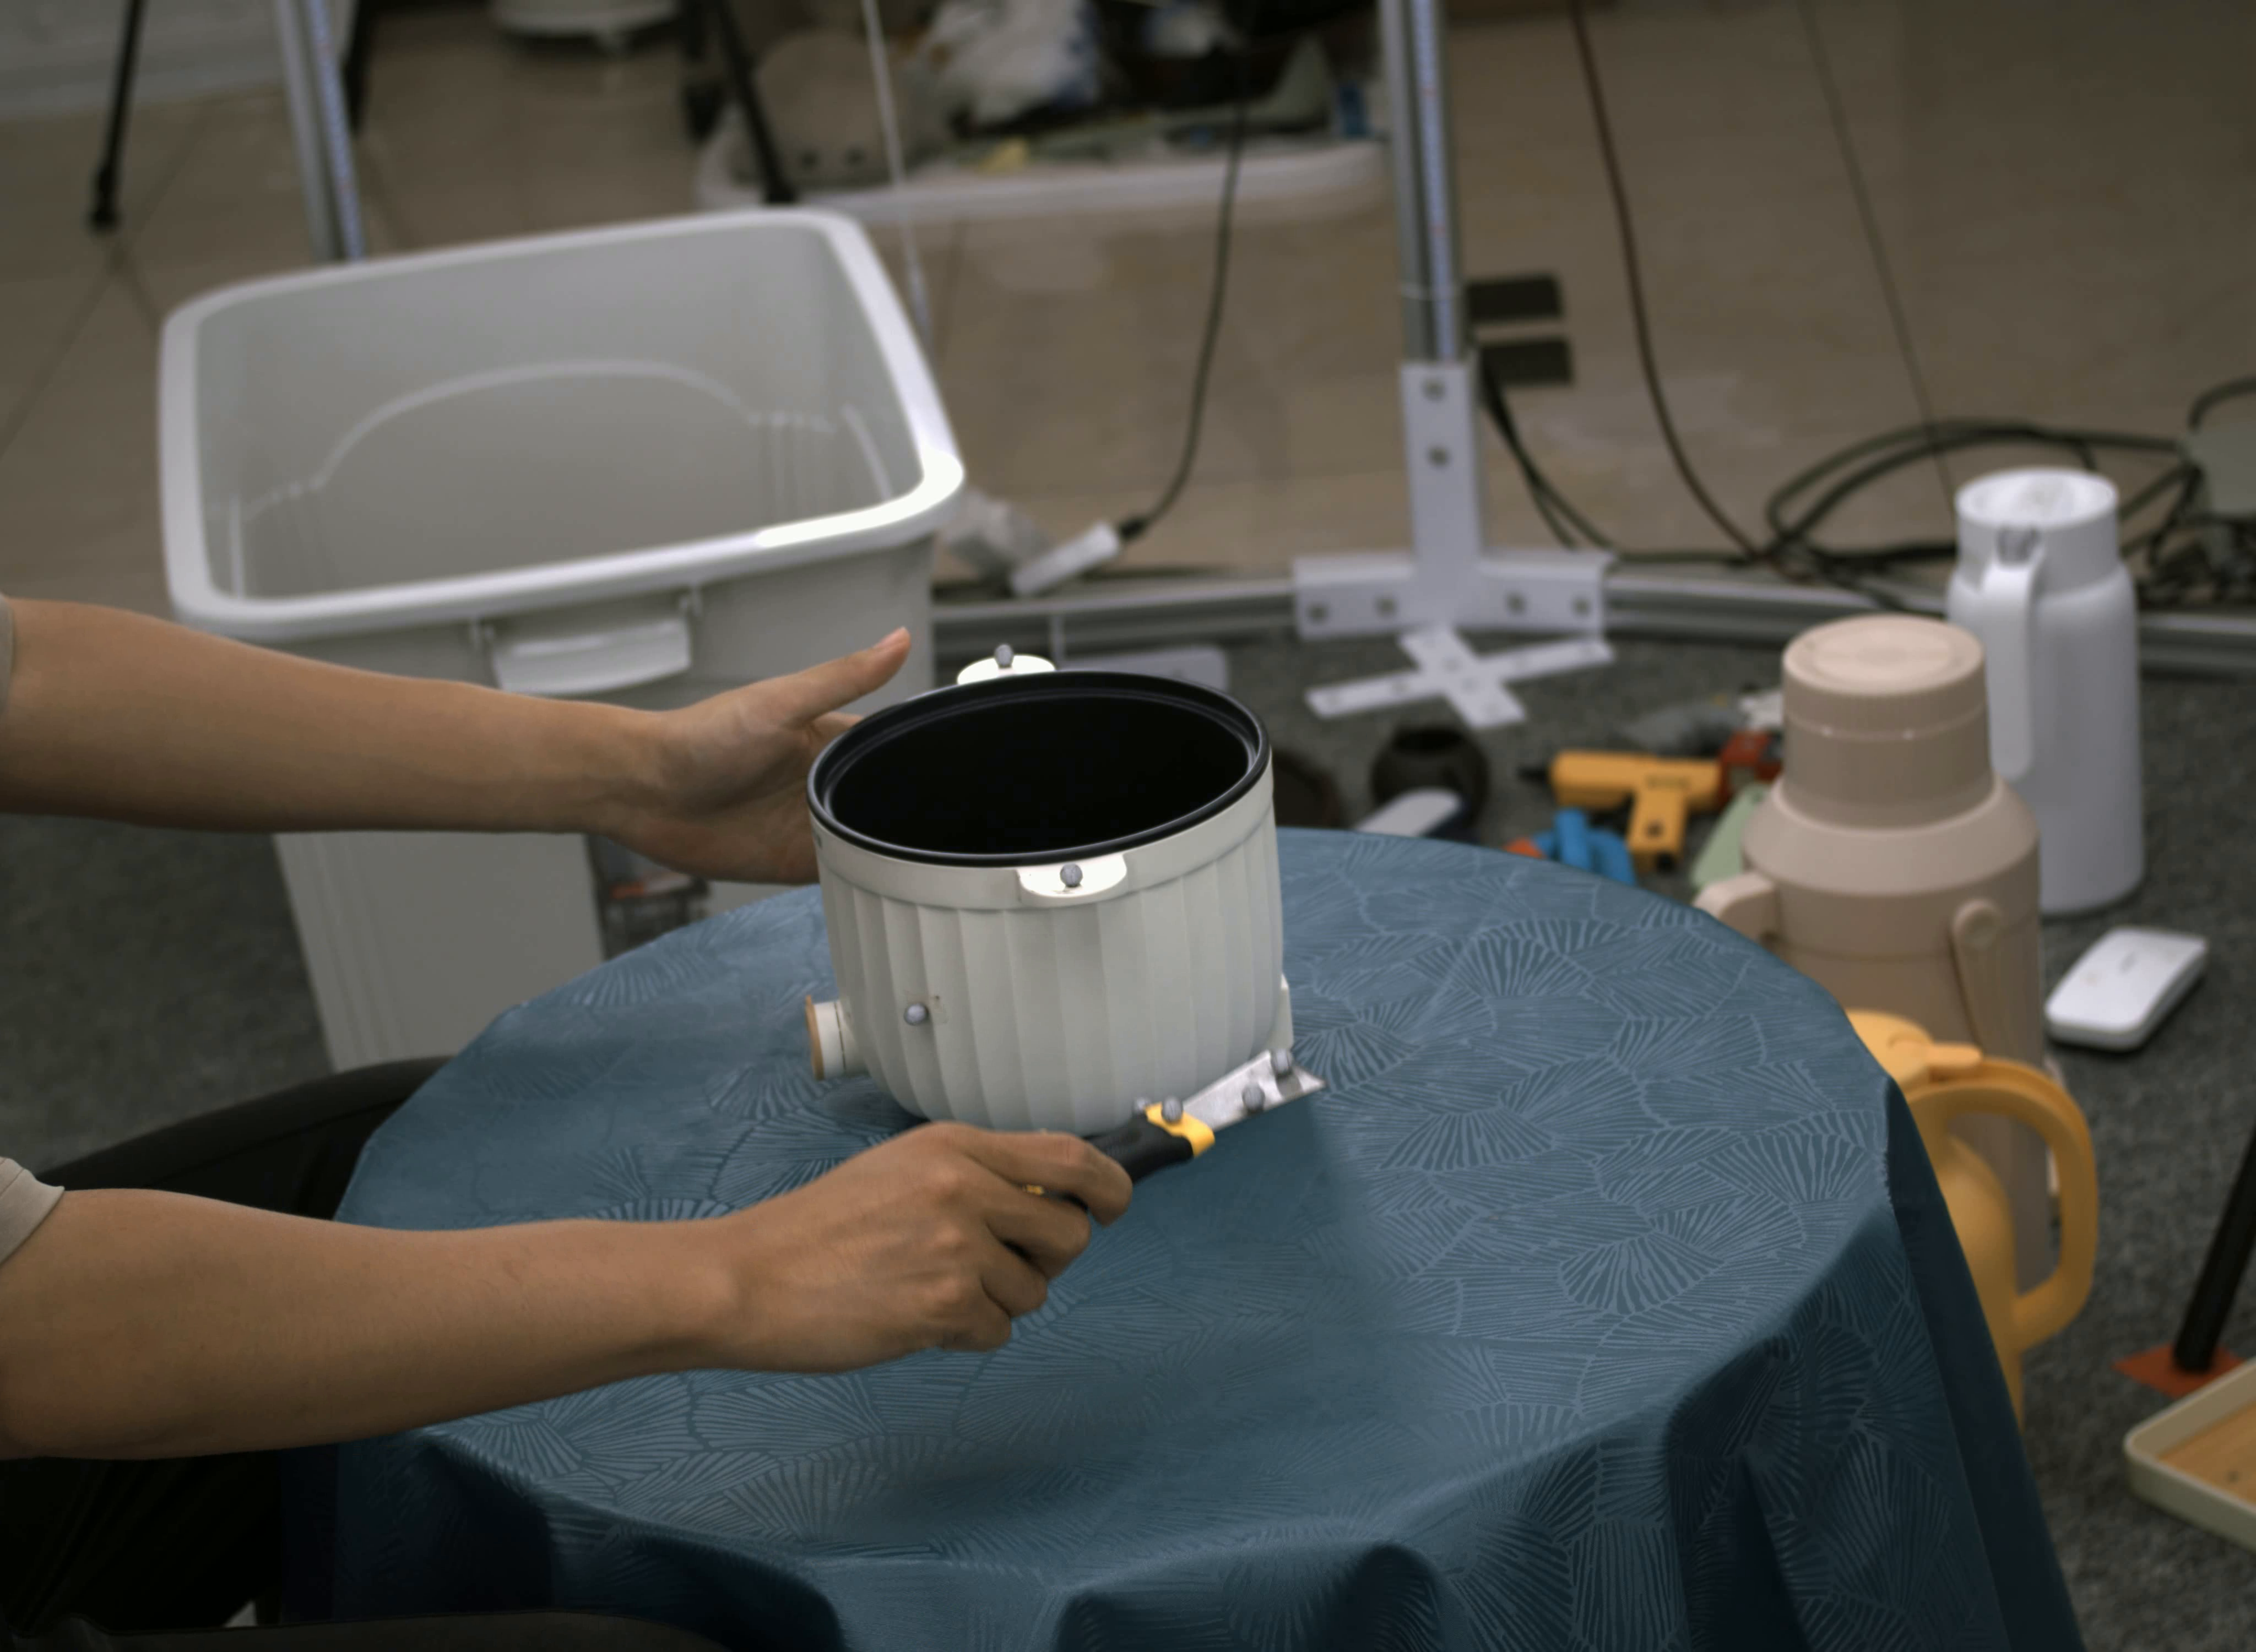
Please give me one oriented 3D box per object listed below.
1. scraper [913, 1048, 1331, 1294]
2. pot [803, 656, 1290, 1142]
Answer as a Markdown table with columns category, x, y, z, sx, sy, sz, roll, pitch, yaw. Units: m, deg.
| category | x | y | z | sx | sy | sz | roll | pitch | yaw |
| --- | --- | --- | --- | --- | --- | --- | --- | --- | --- |
| scraper | -0.003 | 0.121 | 1.979 | 0.169 | 0.015 | 0.038 | -27 | 38 | -28 |
| pot | -0.034 | 0.036 | 2.216 | 0.190 | 0.145 | 0.237 | -6 | 23 | -8 |
